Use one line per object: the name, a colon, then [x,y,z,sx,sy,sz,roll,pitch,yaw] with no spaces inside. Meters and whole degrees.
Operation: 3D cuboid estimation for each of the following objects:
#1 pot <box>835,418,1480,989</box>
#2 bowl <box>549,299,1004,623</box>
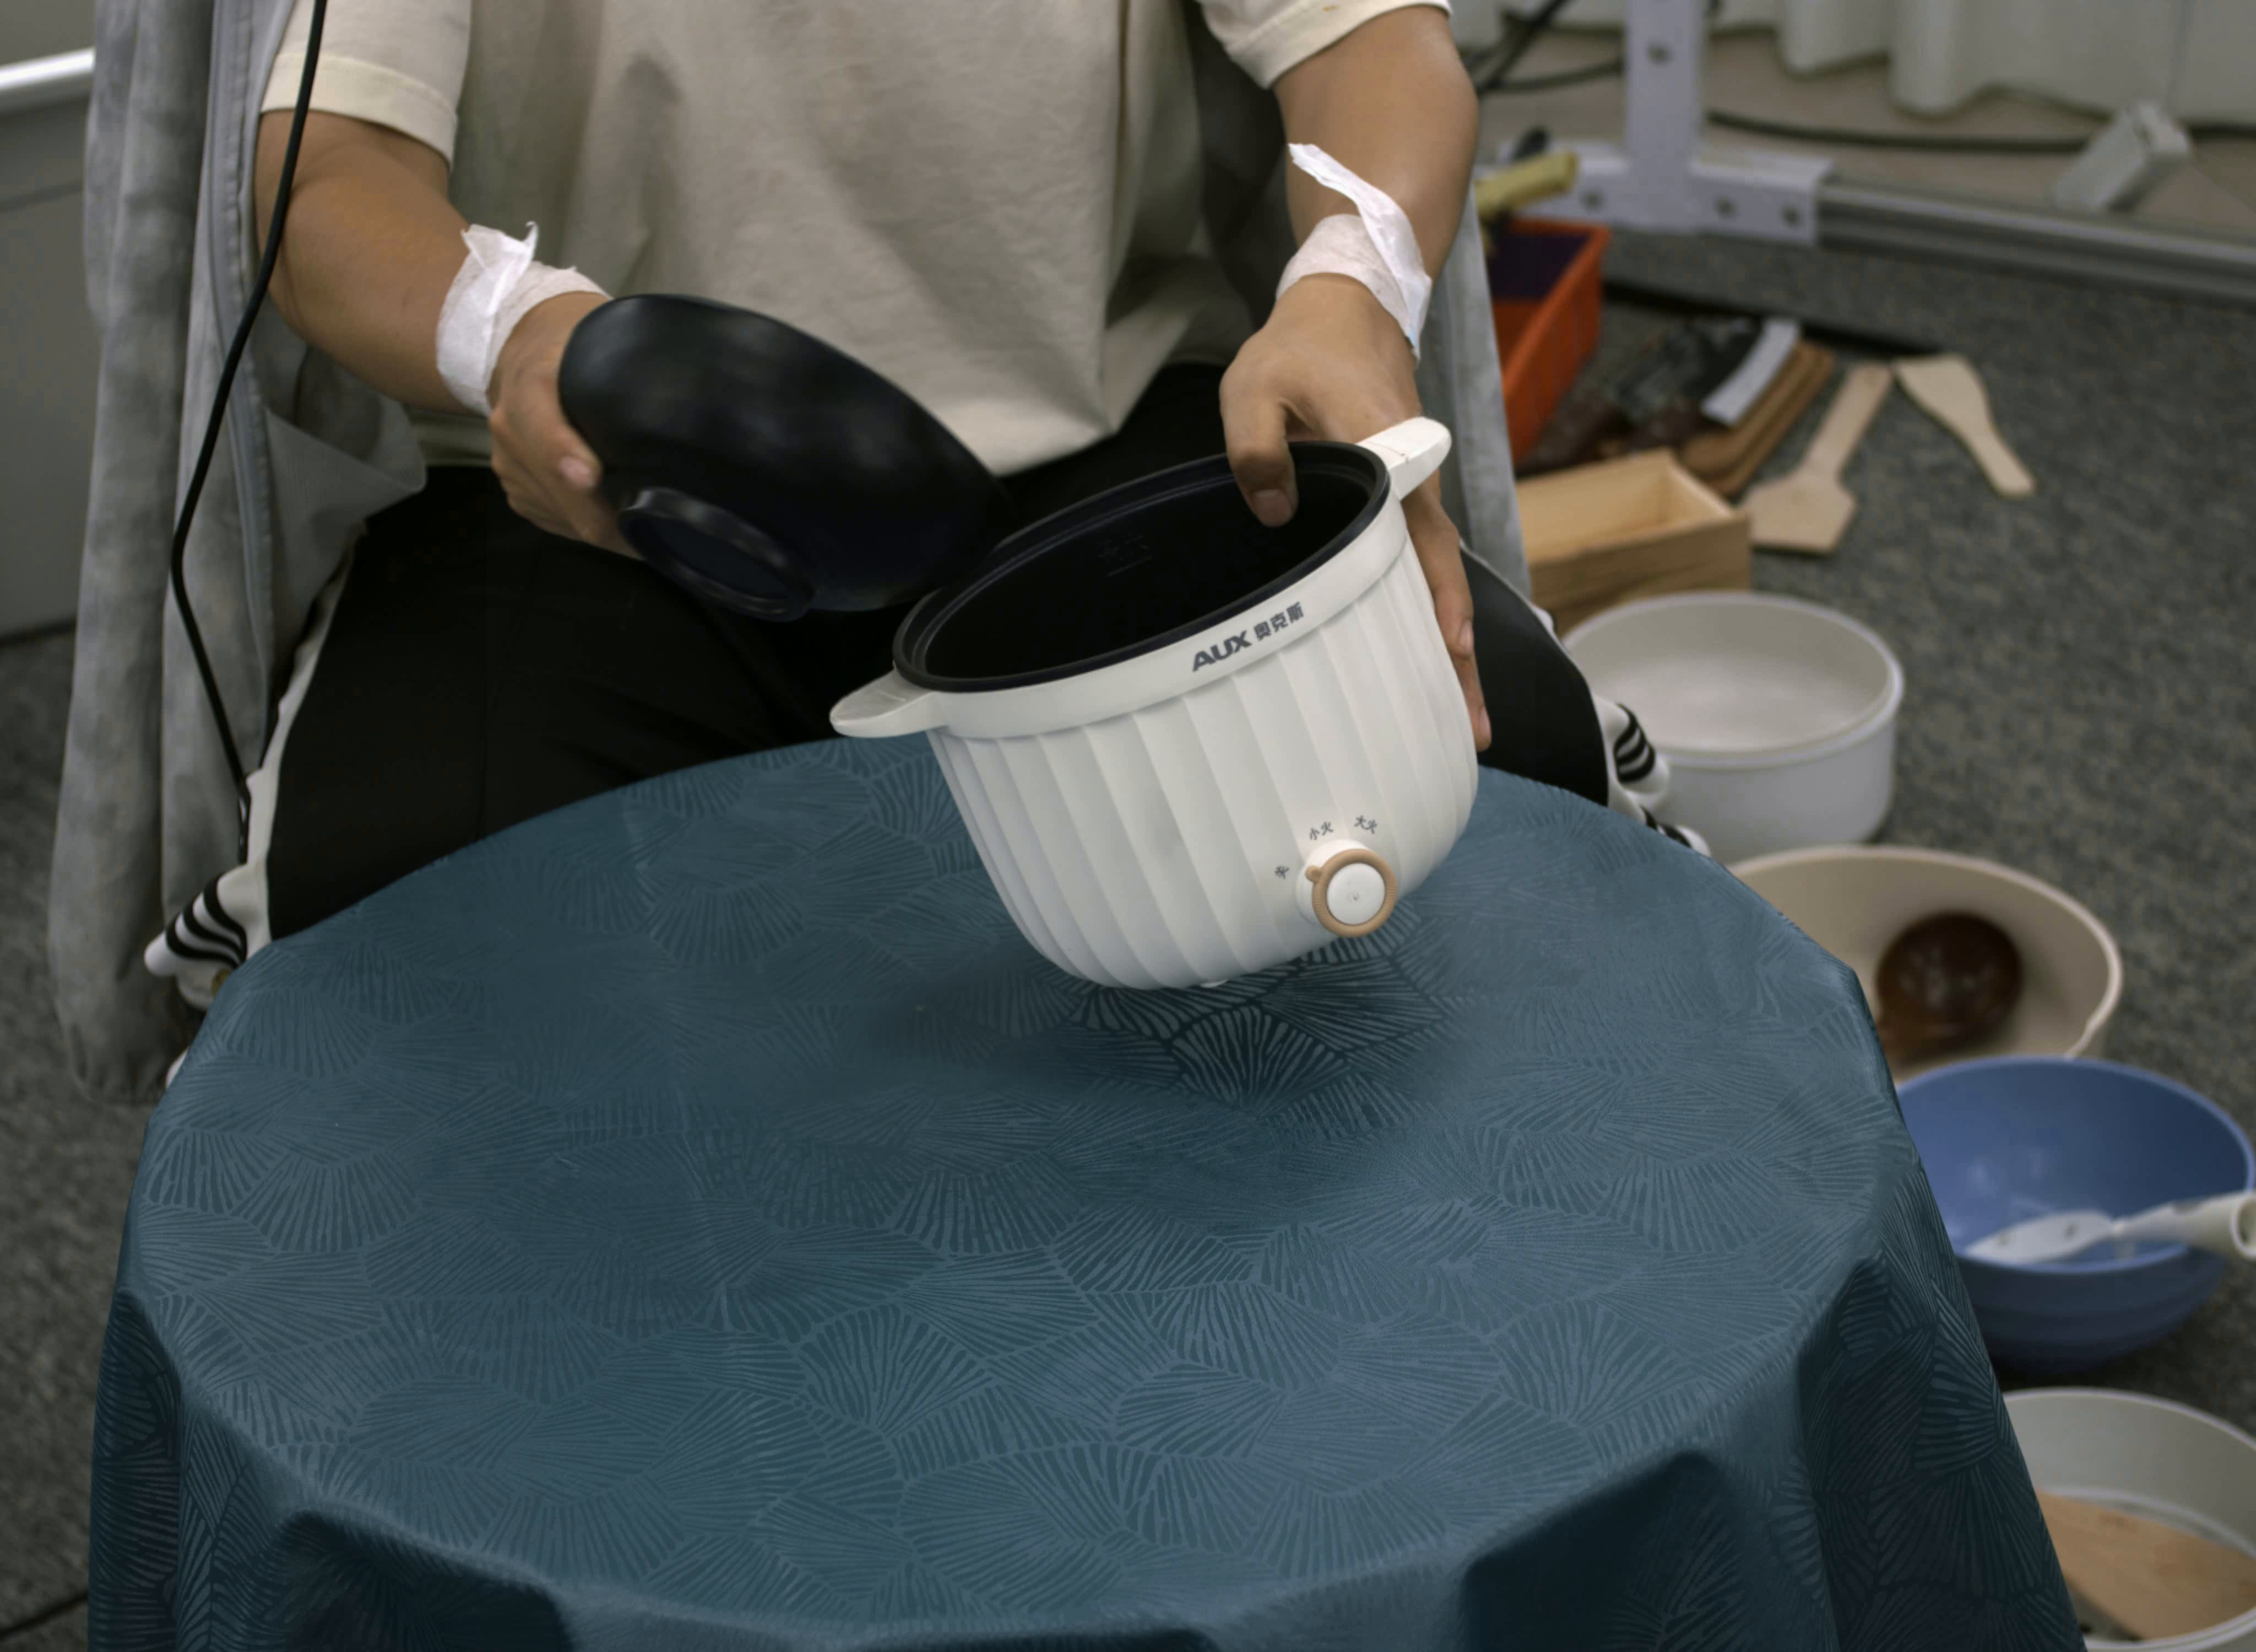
pot: [0.031,-0.033,1.932,0.241,0.142,0.190,-28,16,-15]
bowl: [-0.126,-0.111,1.854,0.169,0.136,0.067,16,70,28]
